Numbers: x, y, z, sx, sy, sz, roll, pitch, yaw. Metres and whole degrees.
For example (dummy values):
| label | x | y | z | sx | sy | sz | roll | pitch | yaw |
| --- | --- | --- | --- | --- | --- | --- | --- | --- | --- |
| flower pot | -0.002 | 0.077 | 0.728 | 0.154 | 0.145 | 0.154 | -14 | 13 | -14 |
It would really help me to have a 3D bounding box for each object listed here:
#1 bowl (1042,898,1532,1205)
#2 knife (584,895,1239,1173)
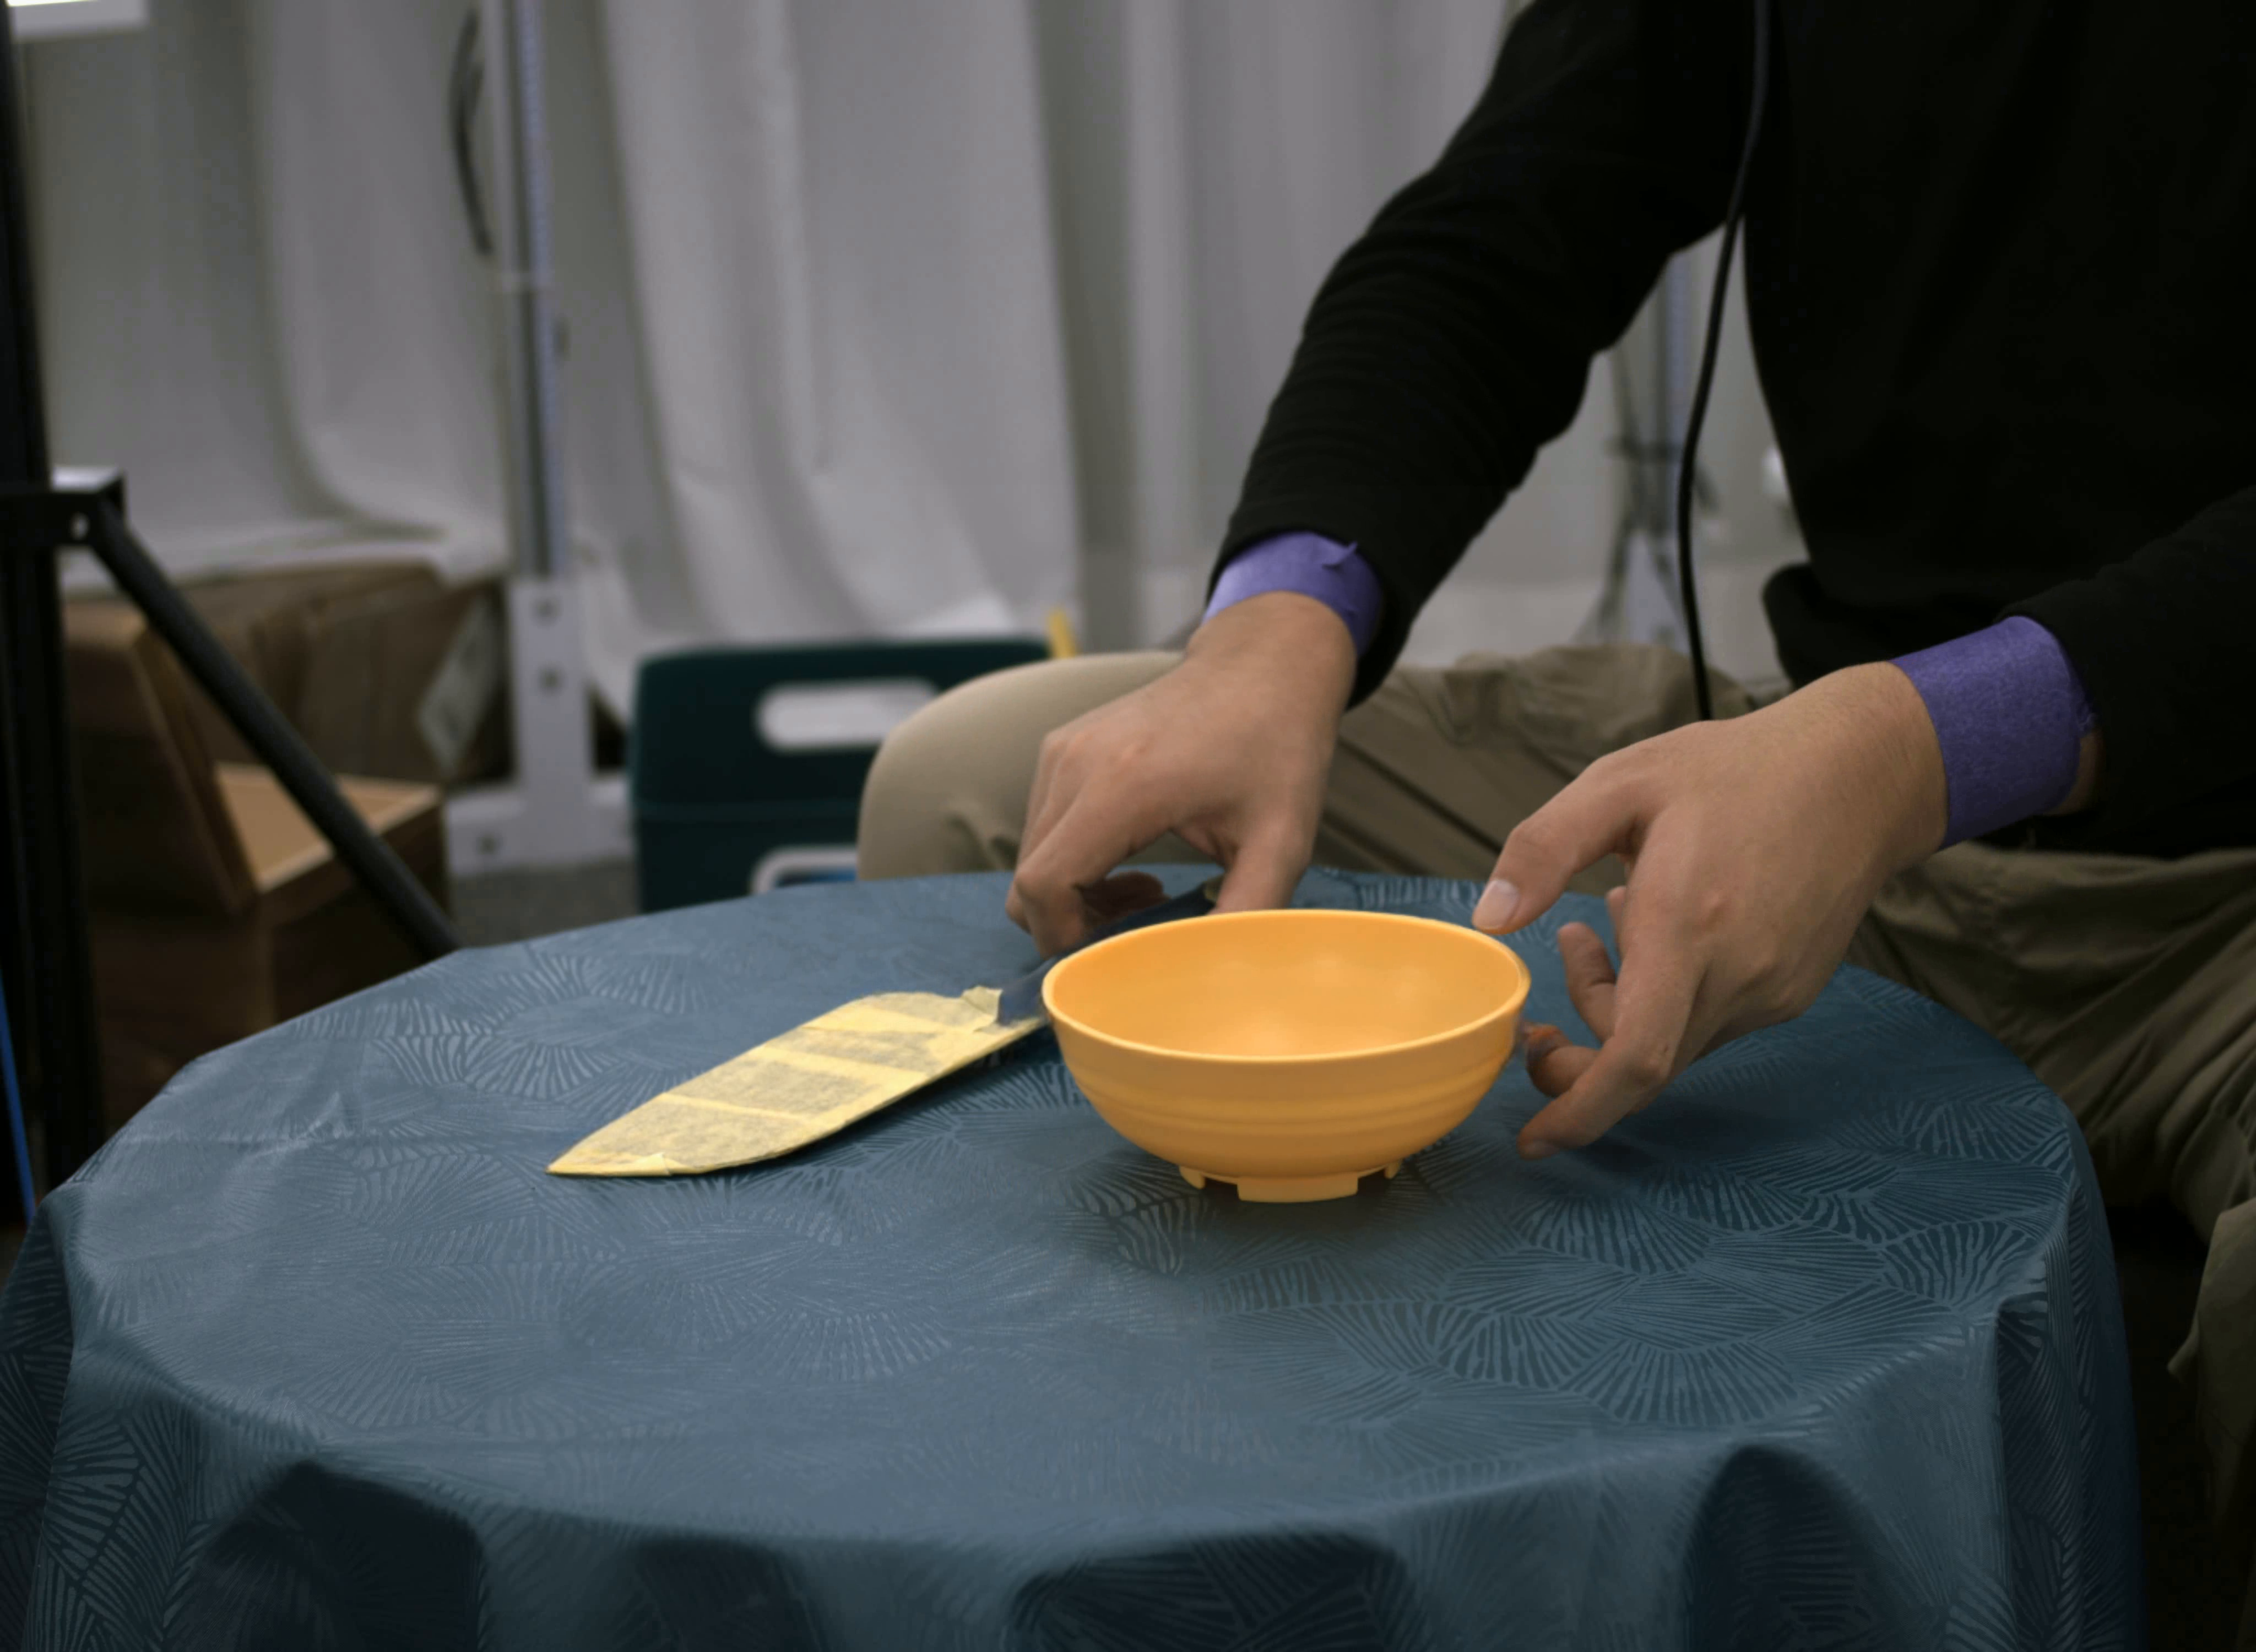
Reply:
| label | x | y | z | sx | sy | sz | roll | pitch | yaw |
| --- | --- | --- | --- | --- | --- | --- | --- | --- | --- |
| bowl | 0.047 | 0.072 | 1.566 | 0.144 | 0.060 | 0.146 | -1 | 18 | -1 |
| knife | -0.065 | 0.066 | 1.687 | 0.083 | 0.027 | 0.283 | 12 | 23 | 40 |
